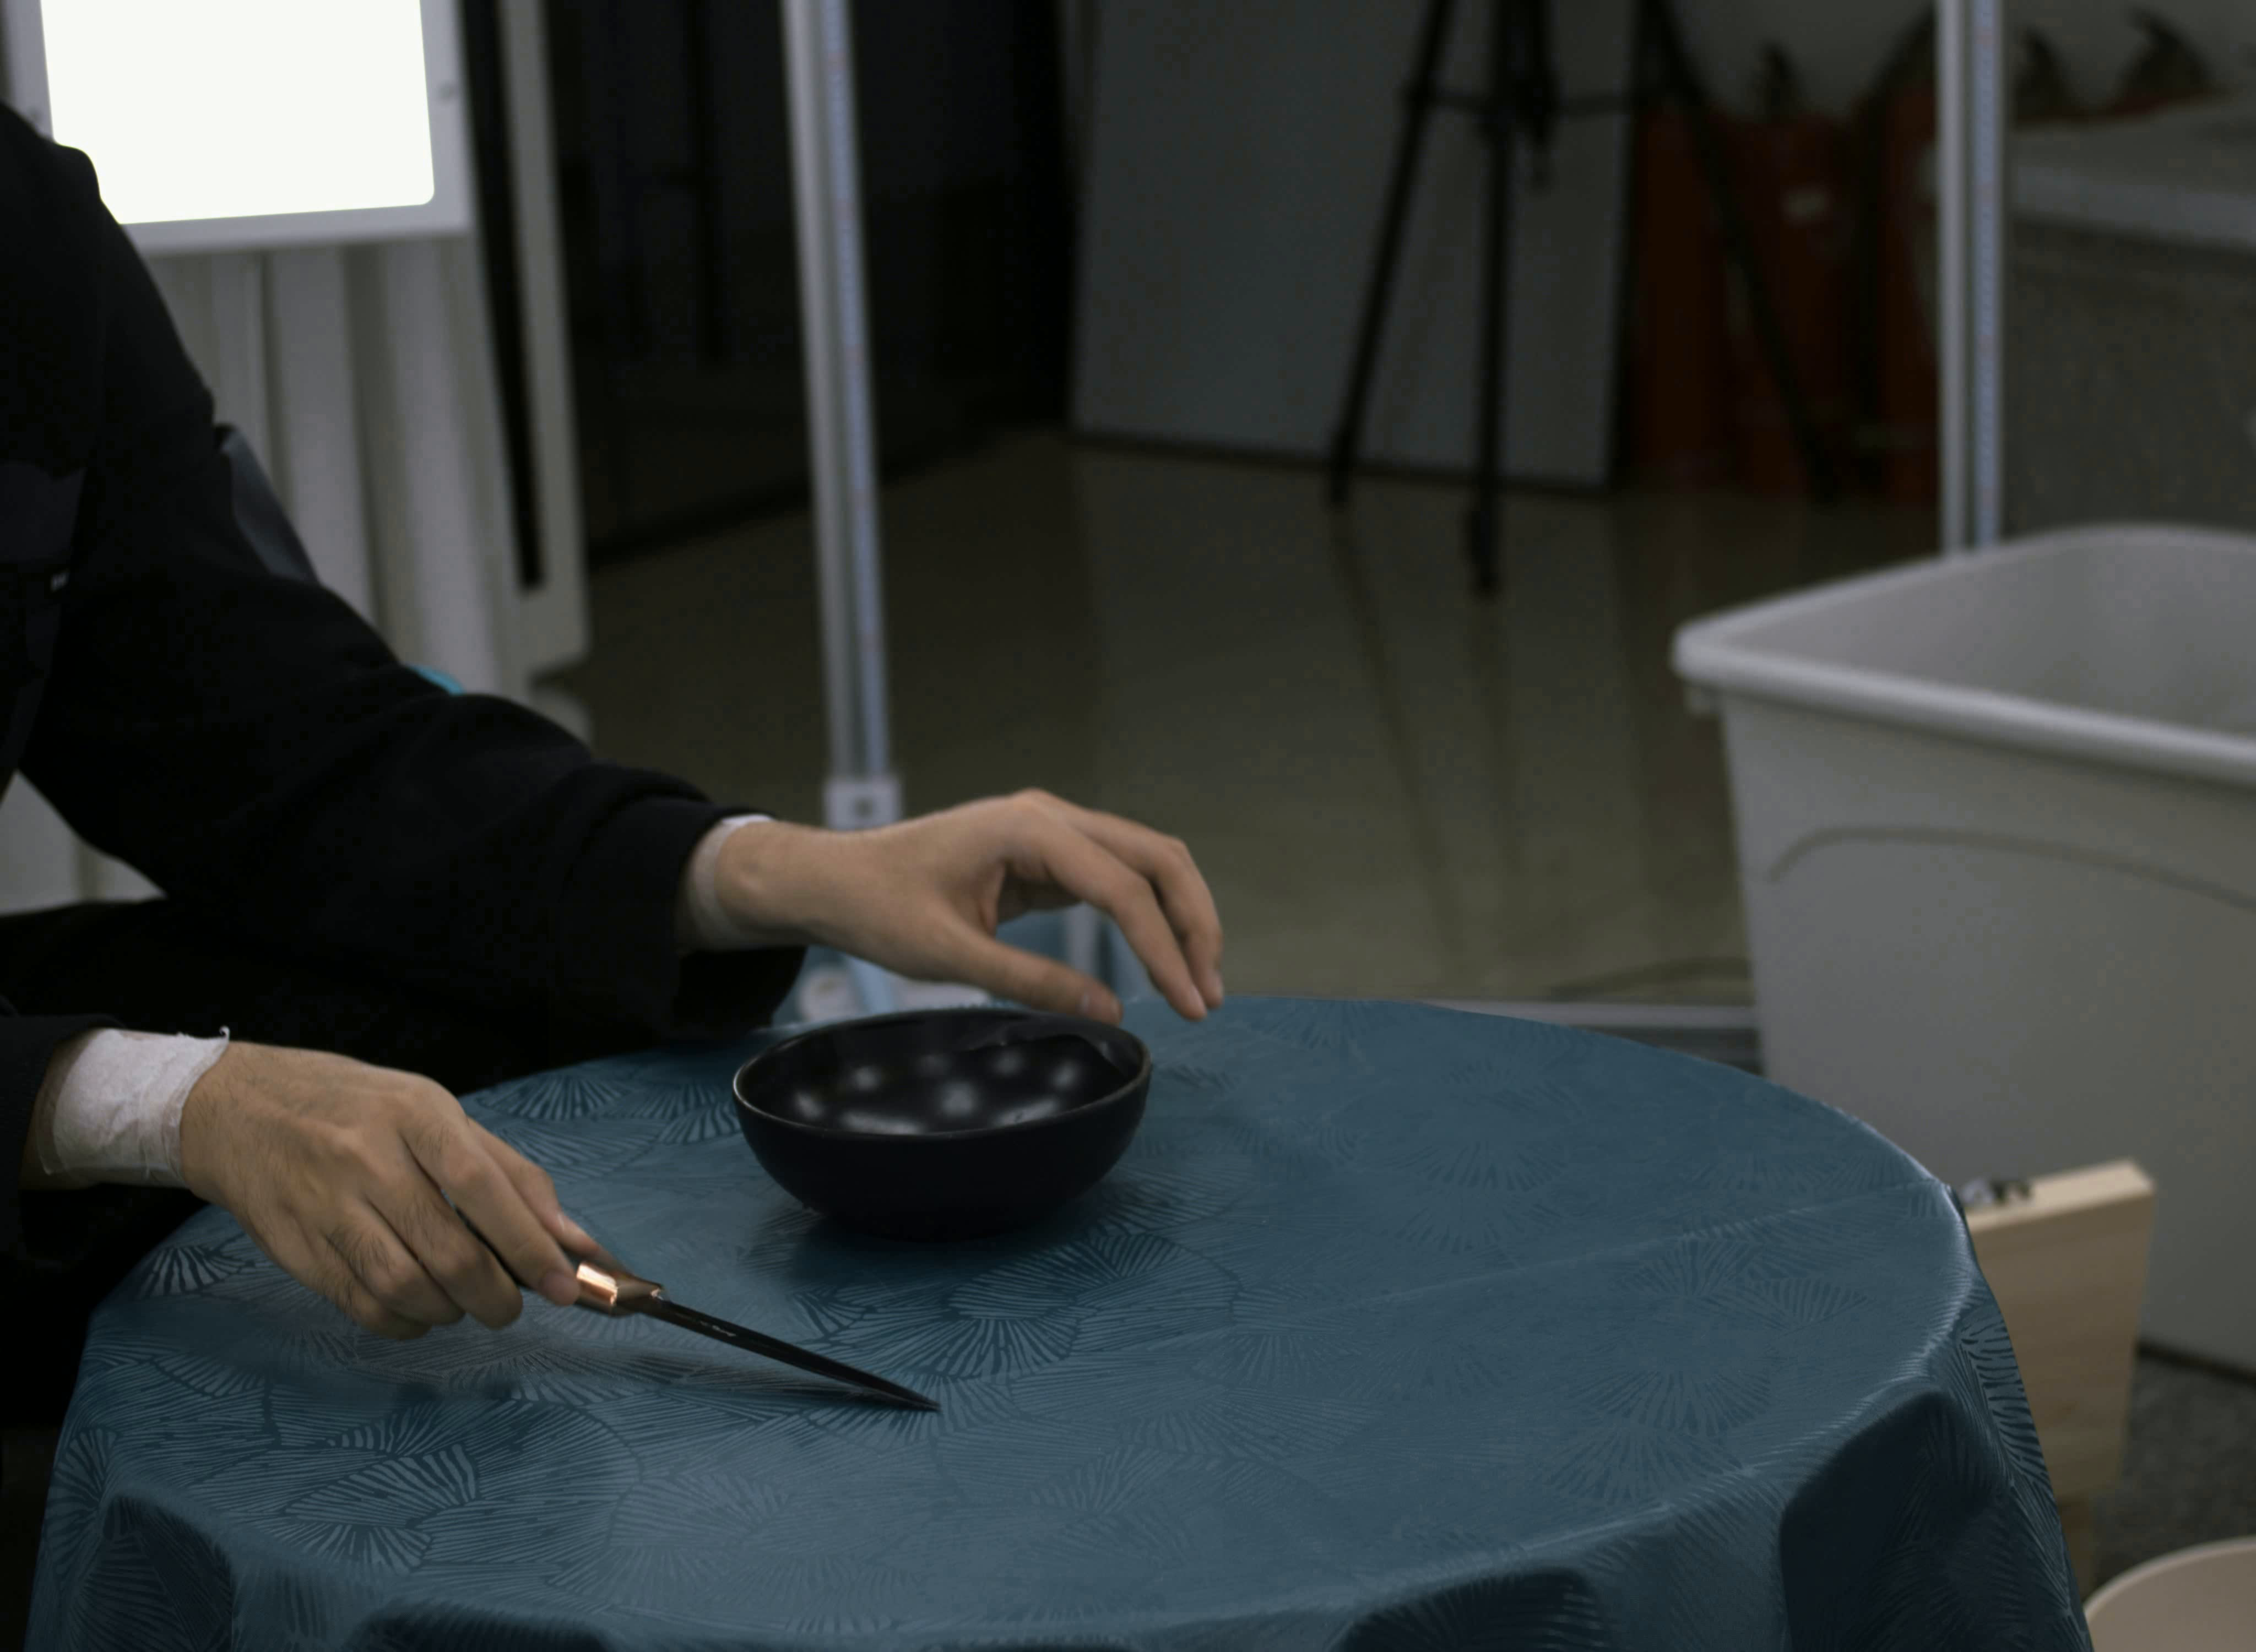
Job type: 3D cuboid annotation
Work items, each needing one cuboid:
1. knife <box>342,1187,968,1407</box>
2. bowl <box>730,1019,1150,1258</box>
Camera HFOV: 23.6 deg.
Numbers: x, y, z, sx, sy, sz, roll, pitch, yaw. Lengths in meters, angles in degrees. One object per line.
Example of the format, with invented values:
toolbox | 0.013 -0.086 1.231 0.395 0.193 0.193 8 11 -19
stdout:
knife | -0.145 0.144 1.638 0.226 0.017 0.026 15 6 29
bowl | -0.058 0.106 1.758 0.138 0.050 0.140 -8 13 1
